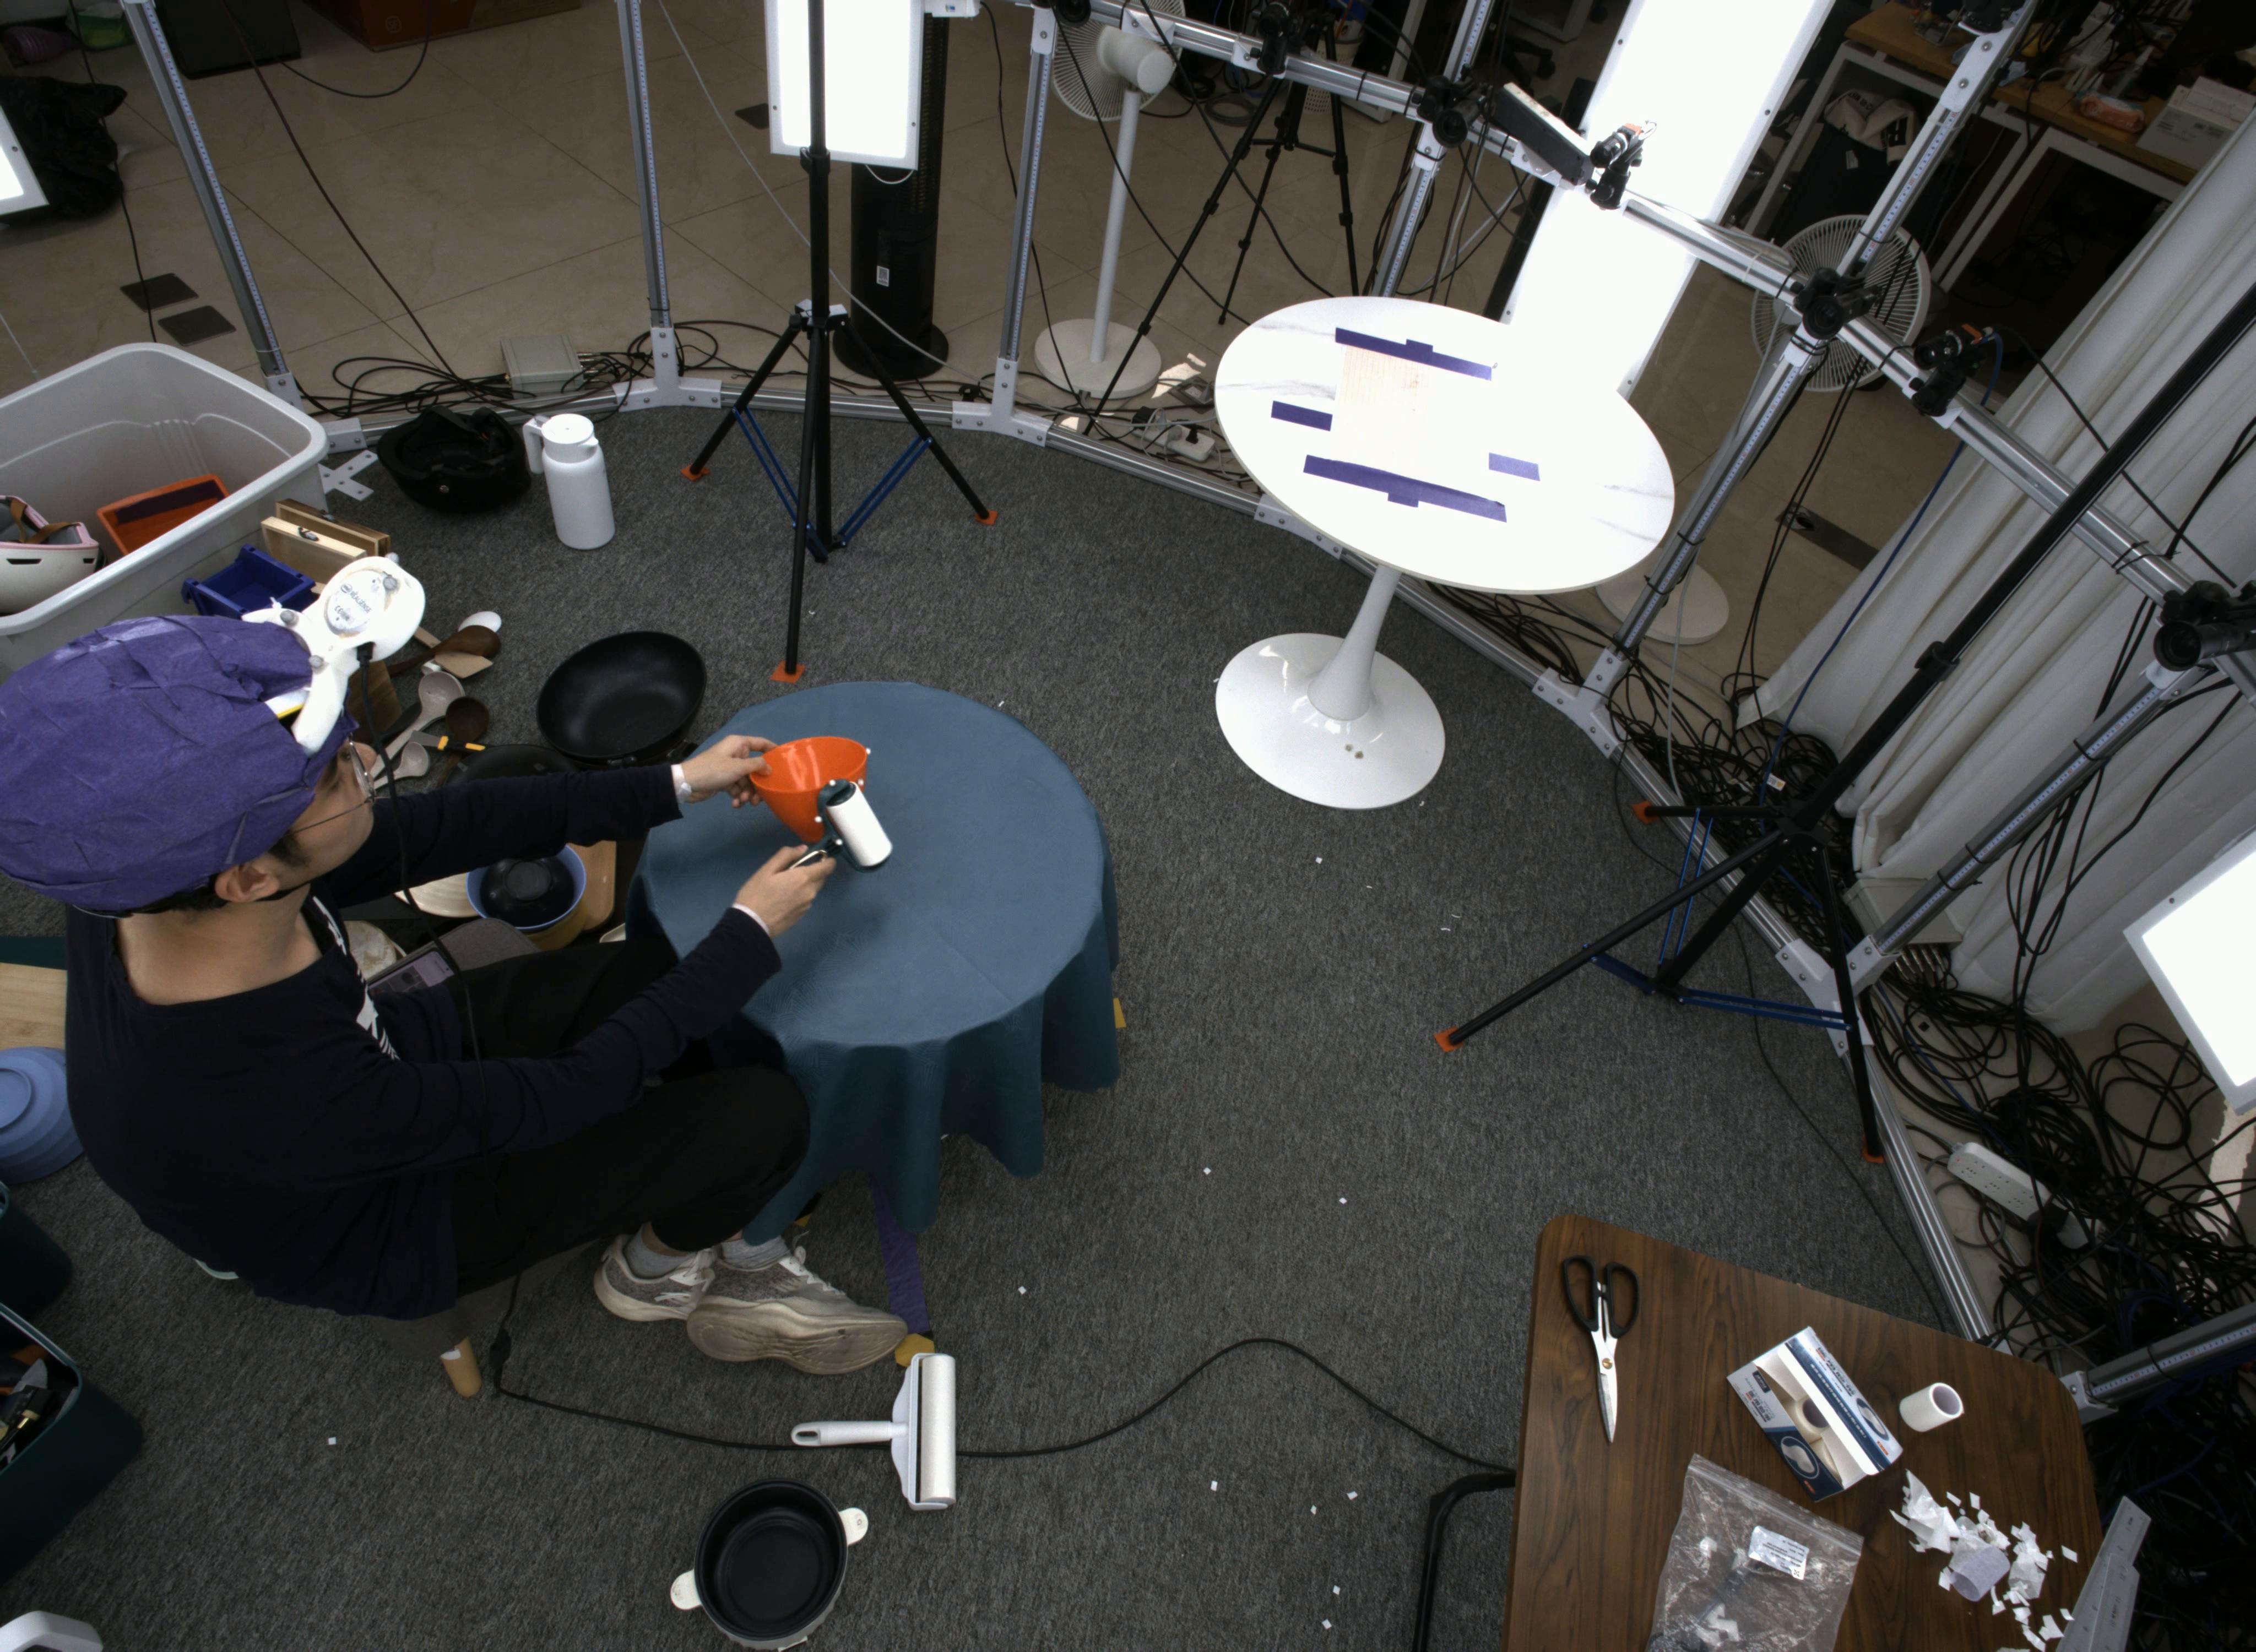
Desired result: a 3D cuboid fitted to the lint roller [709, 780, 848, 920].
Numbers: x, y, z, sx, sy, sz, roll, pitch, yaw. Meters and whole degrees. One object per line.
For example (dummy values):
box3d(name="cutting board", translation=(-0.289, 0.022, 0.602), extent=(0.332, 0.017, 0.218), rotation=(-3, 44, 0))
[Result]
box3d(name="lint roller", translation=(-0.426, 0.047, 1.552), extent=(0.046, 0.139, 0.180), rotation=(16, 54, 40))

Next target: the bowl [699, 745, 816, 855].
box3d(name="bowl", translation=(-0.455, -0.029, 1.630), extent=(0.146, 0.108, 0.145), rotation=(-9, 24, 6))
